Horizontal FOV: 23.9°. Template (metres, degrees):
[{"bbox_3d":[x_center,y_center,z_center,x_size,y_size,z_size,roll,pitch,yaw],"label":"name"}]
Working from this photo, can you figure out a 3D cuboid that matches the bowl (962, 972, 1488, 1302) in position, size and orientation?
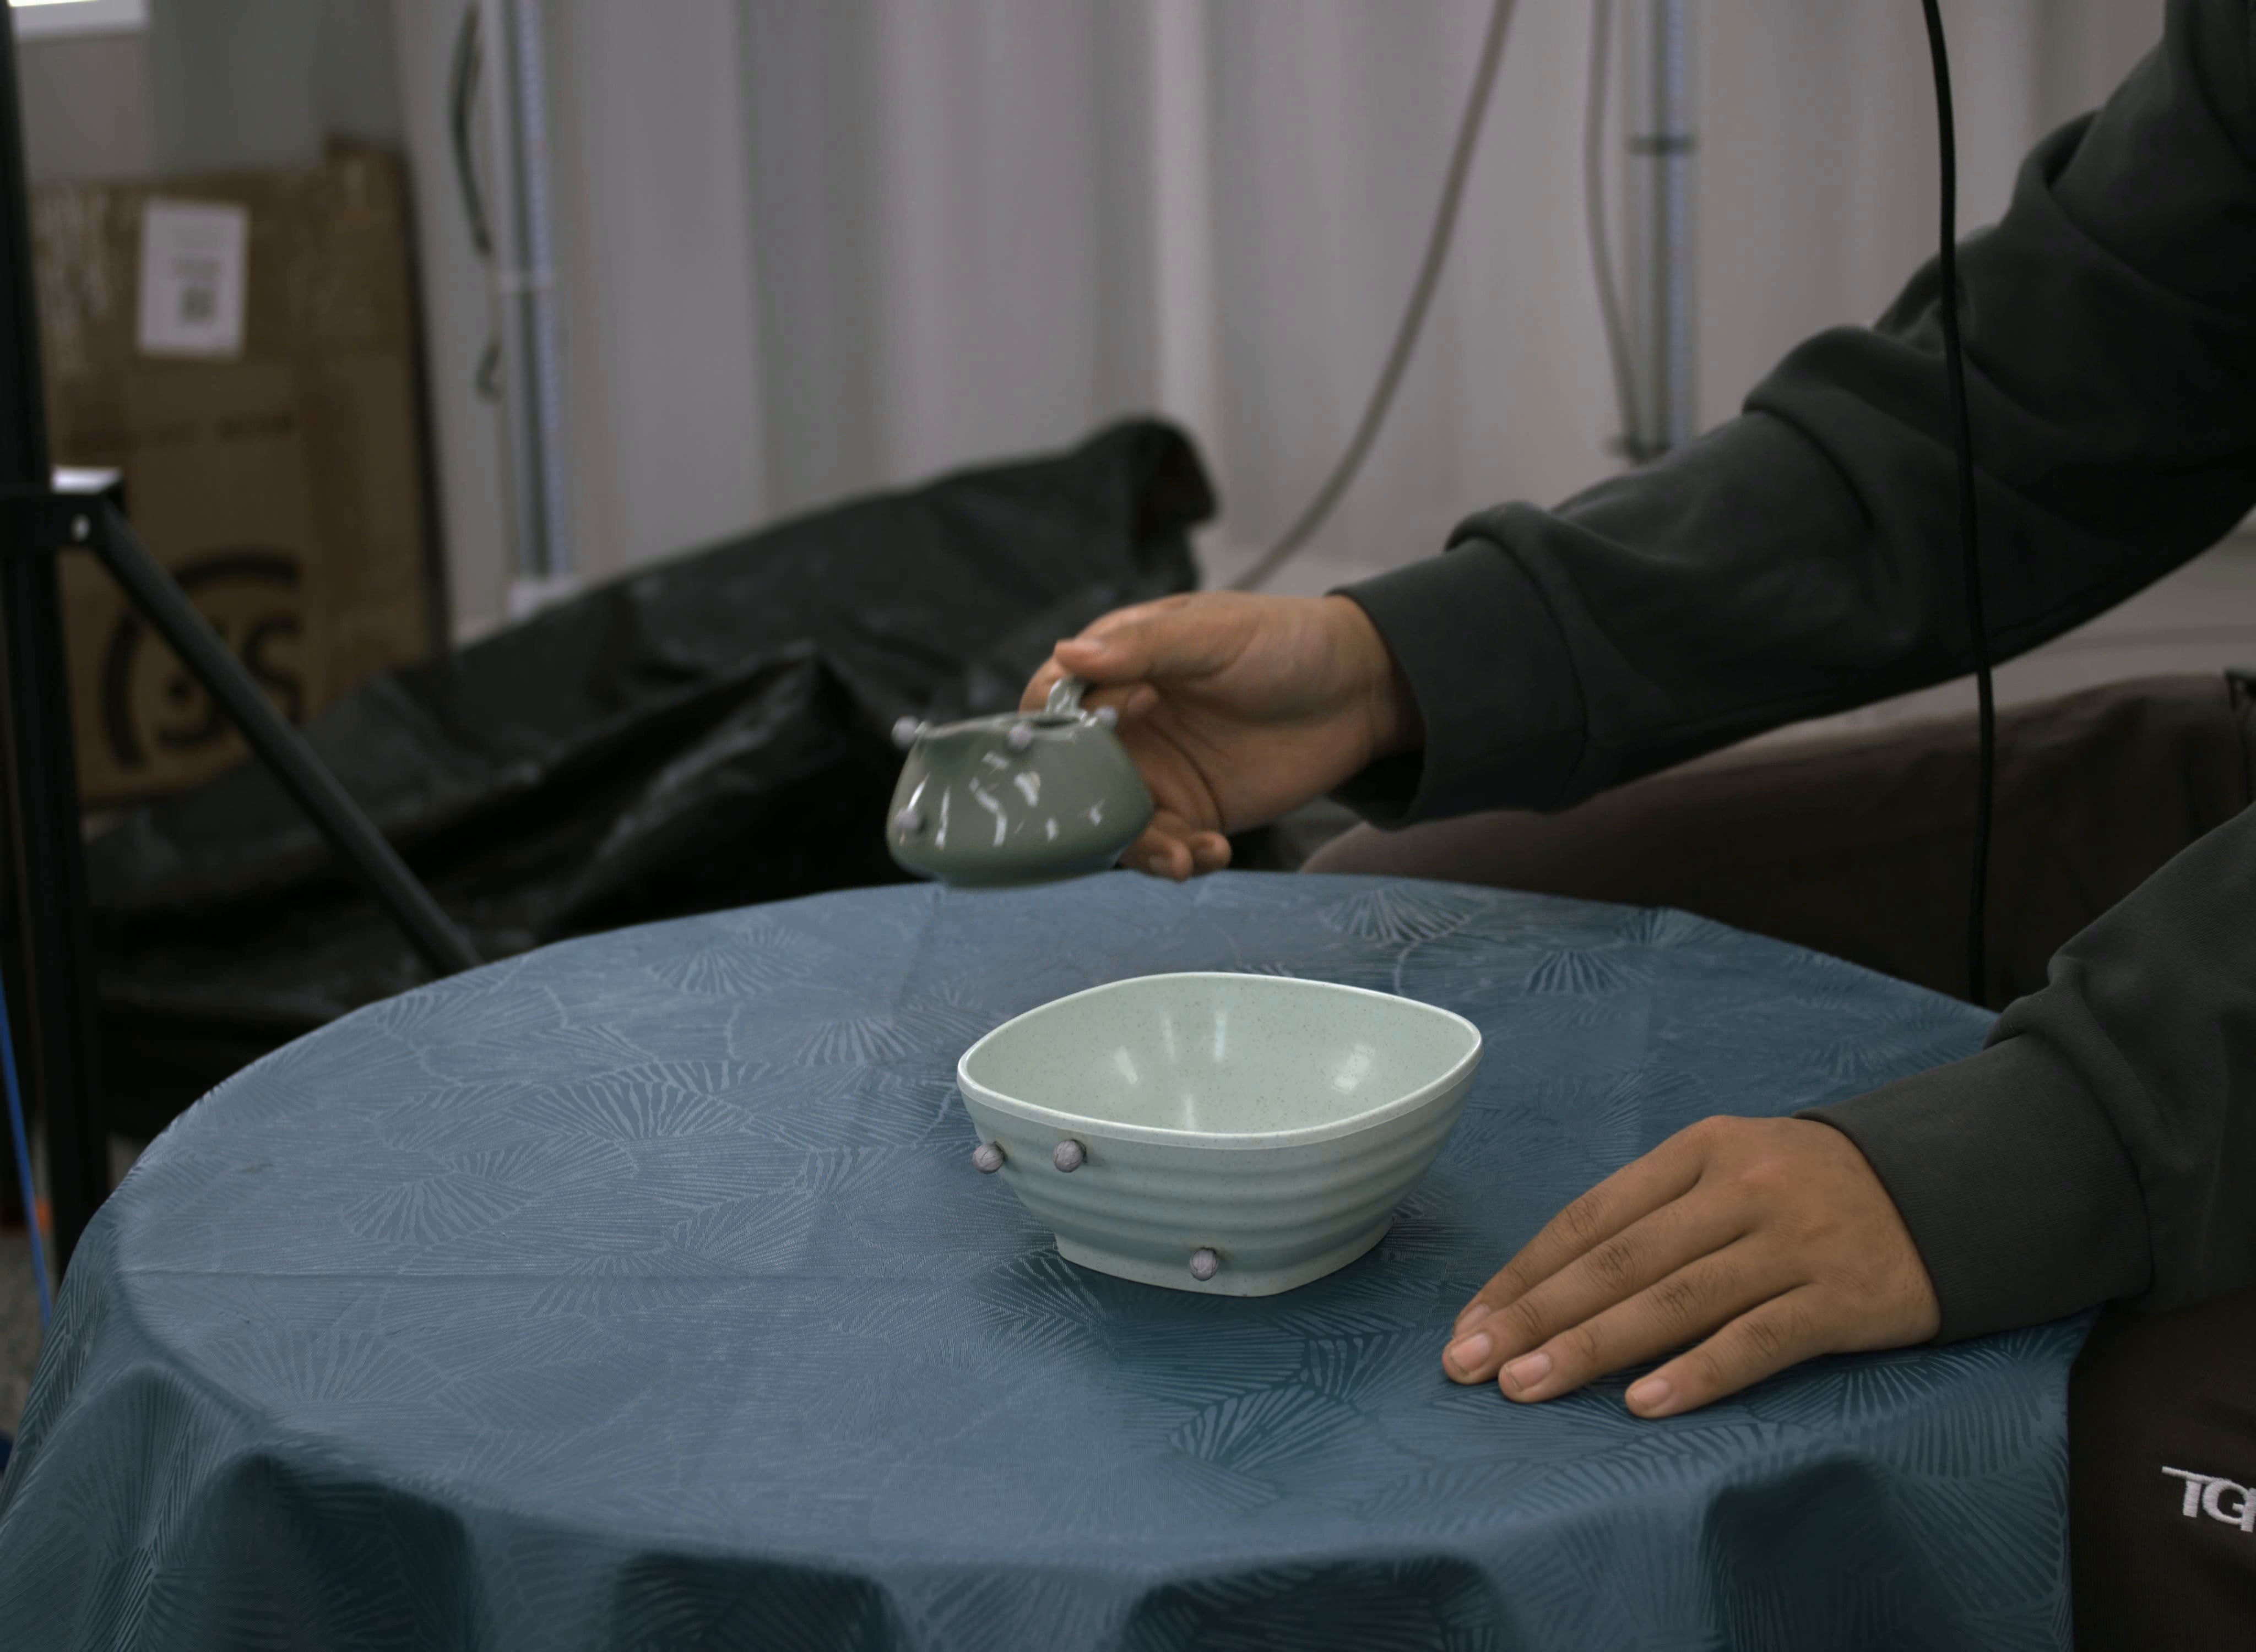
[{"bbox_3d":[0.029,0.092,1.509,0.151,0.058,0.152,-4,17,0],"label":"bowl"}]

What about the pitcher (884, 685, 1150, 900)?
[{"bbox_3d":[-0.033,-0.010,1.670,0.085,0.056,0.110,-3,9,27],"label":"pitcher"}]
